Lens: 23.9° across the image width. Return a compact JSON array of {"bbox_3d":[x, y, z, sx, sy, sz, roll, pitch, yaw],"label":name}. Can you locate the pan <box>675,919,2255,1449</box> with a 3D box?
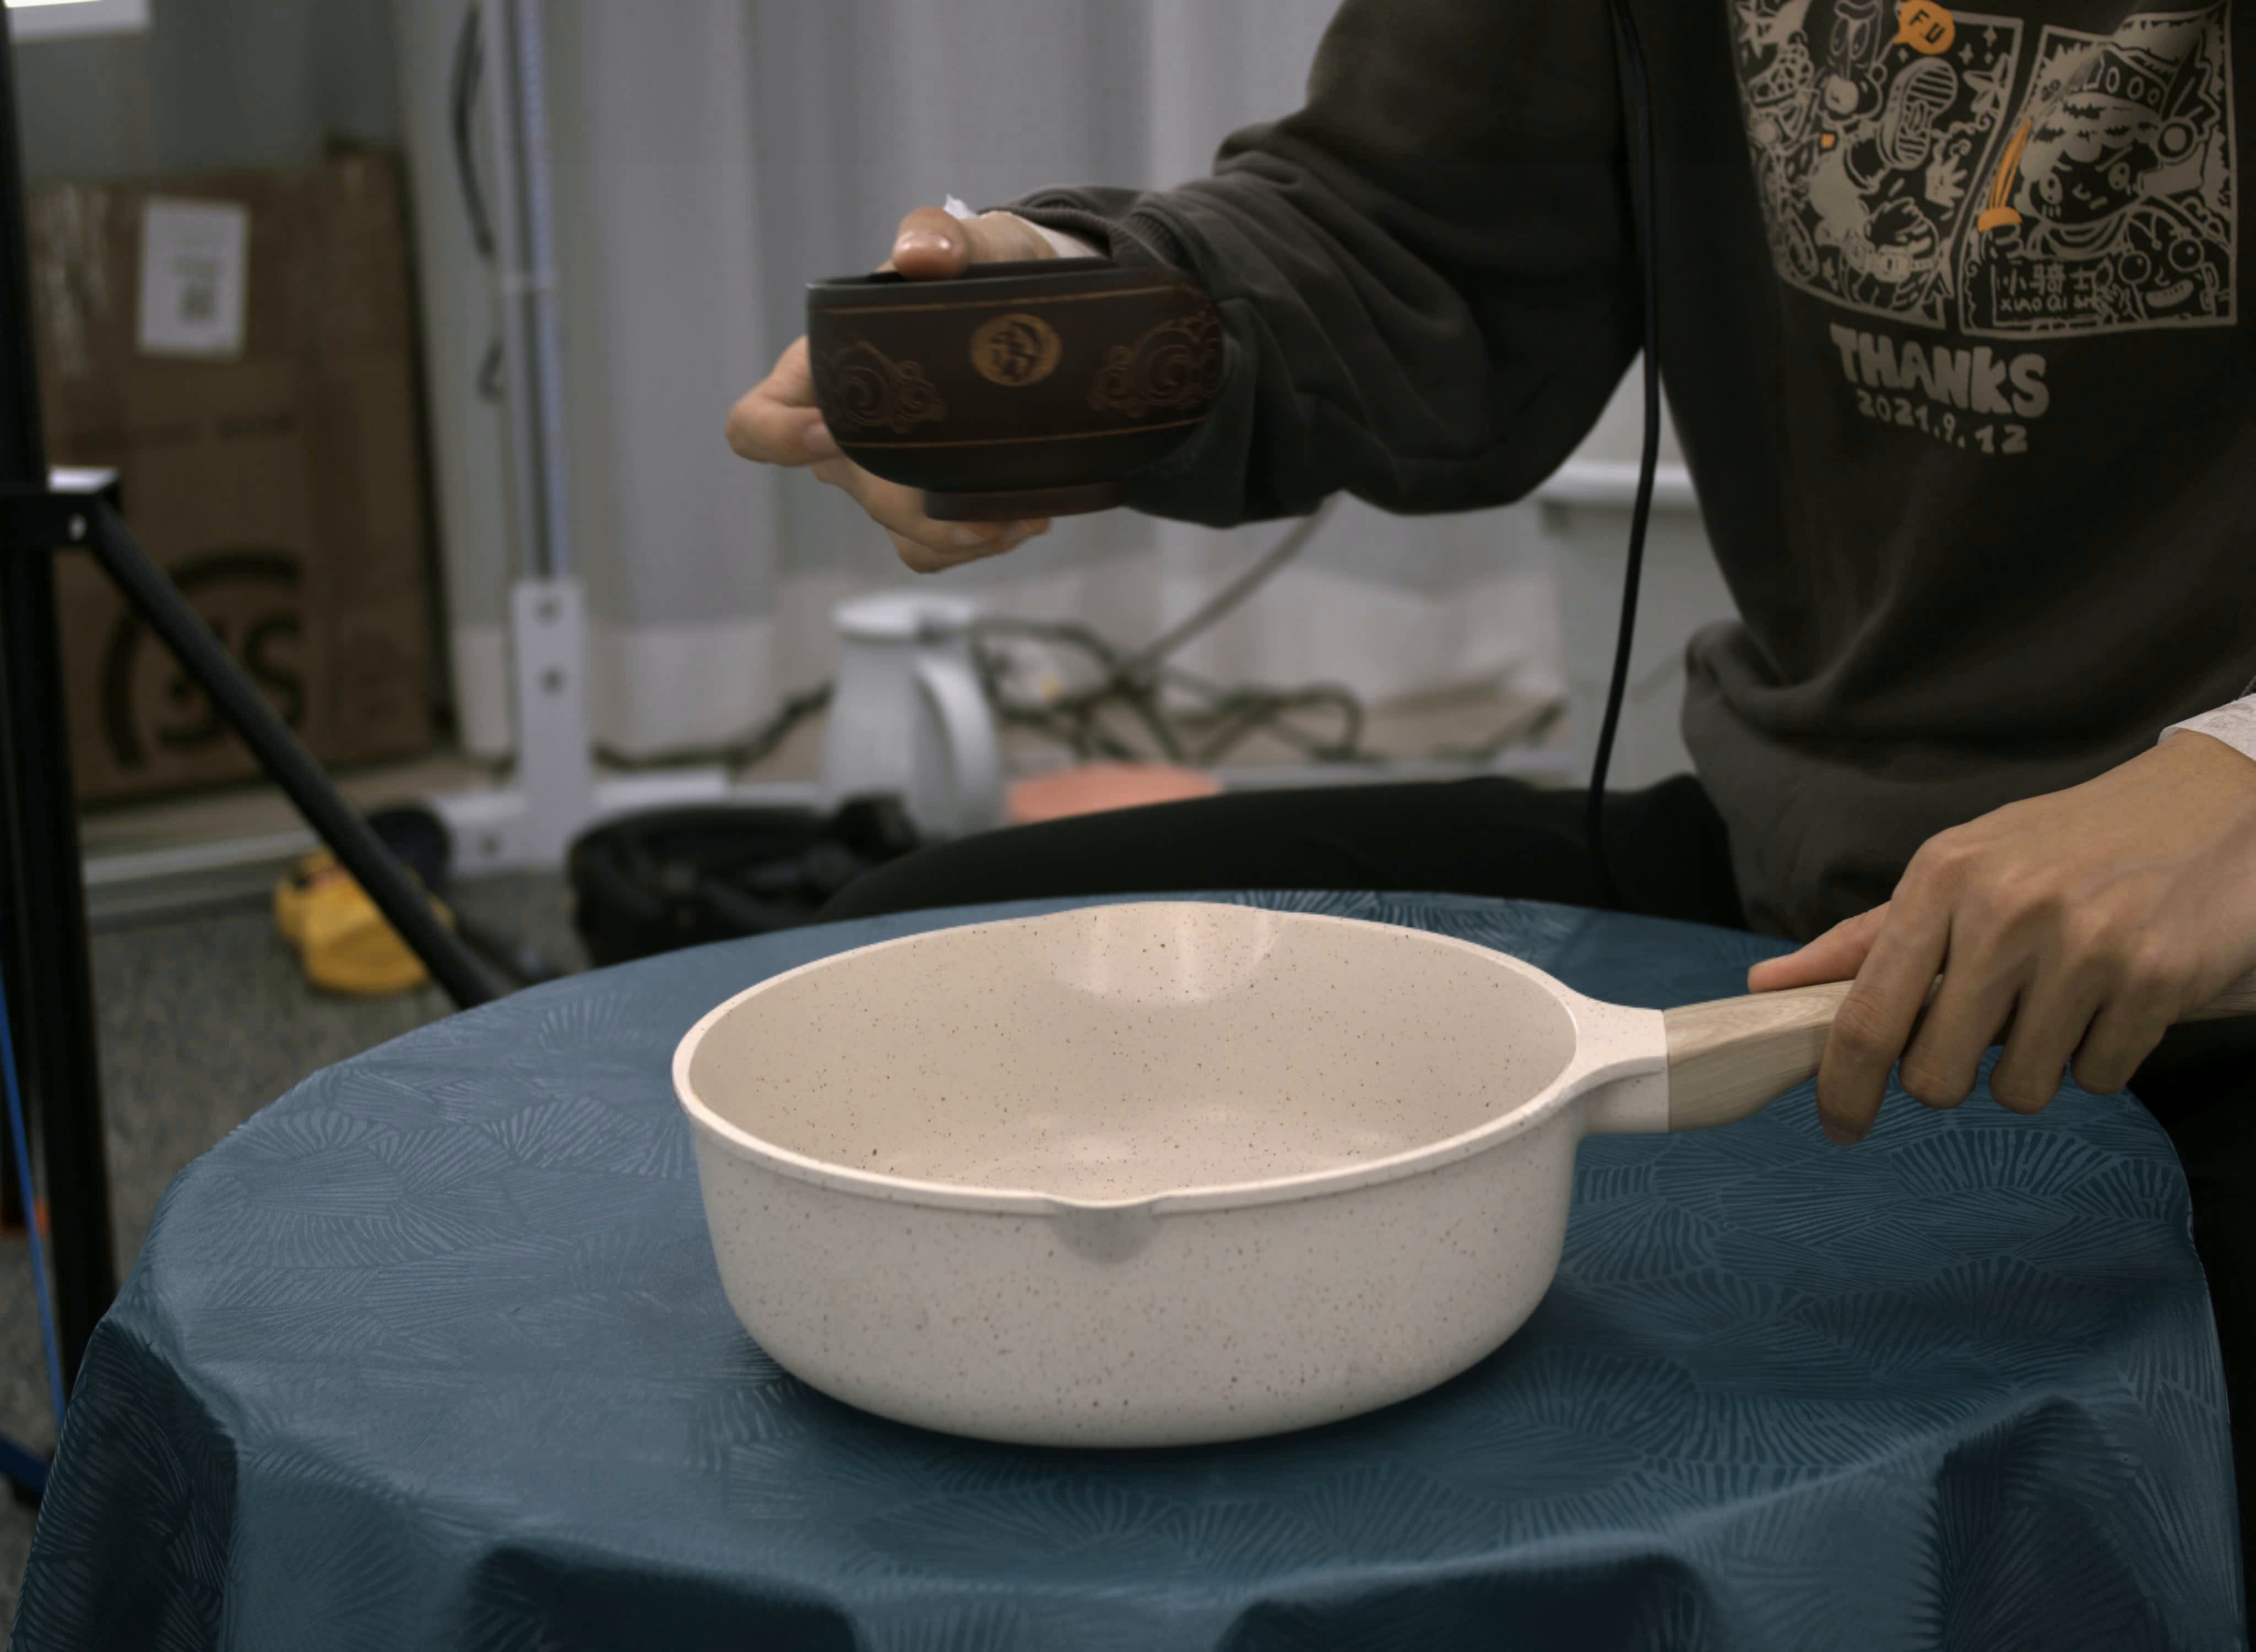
[{"bbox_3d":[0.095,0.089,1.432,0.434,0.102,0.263,-1,14,5],"label":"pan"}]

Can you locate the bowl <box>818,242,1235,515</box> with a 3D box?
[{"bbox_3d":[-0.027,-0.125,1.500,0.117,0.070,0.118,-5,6,-1],"label":"bowl"}]
